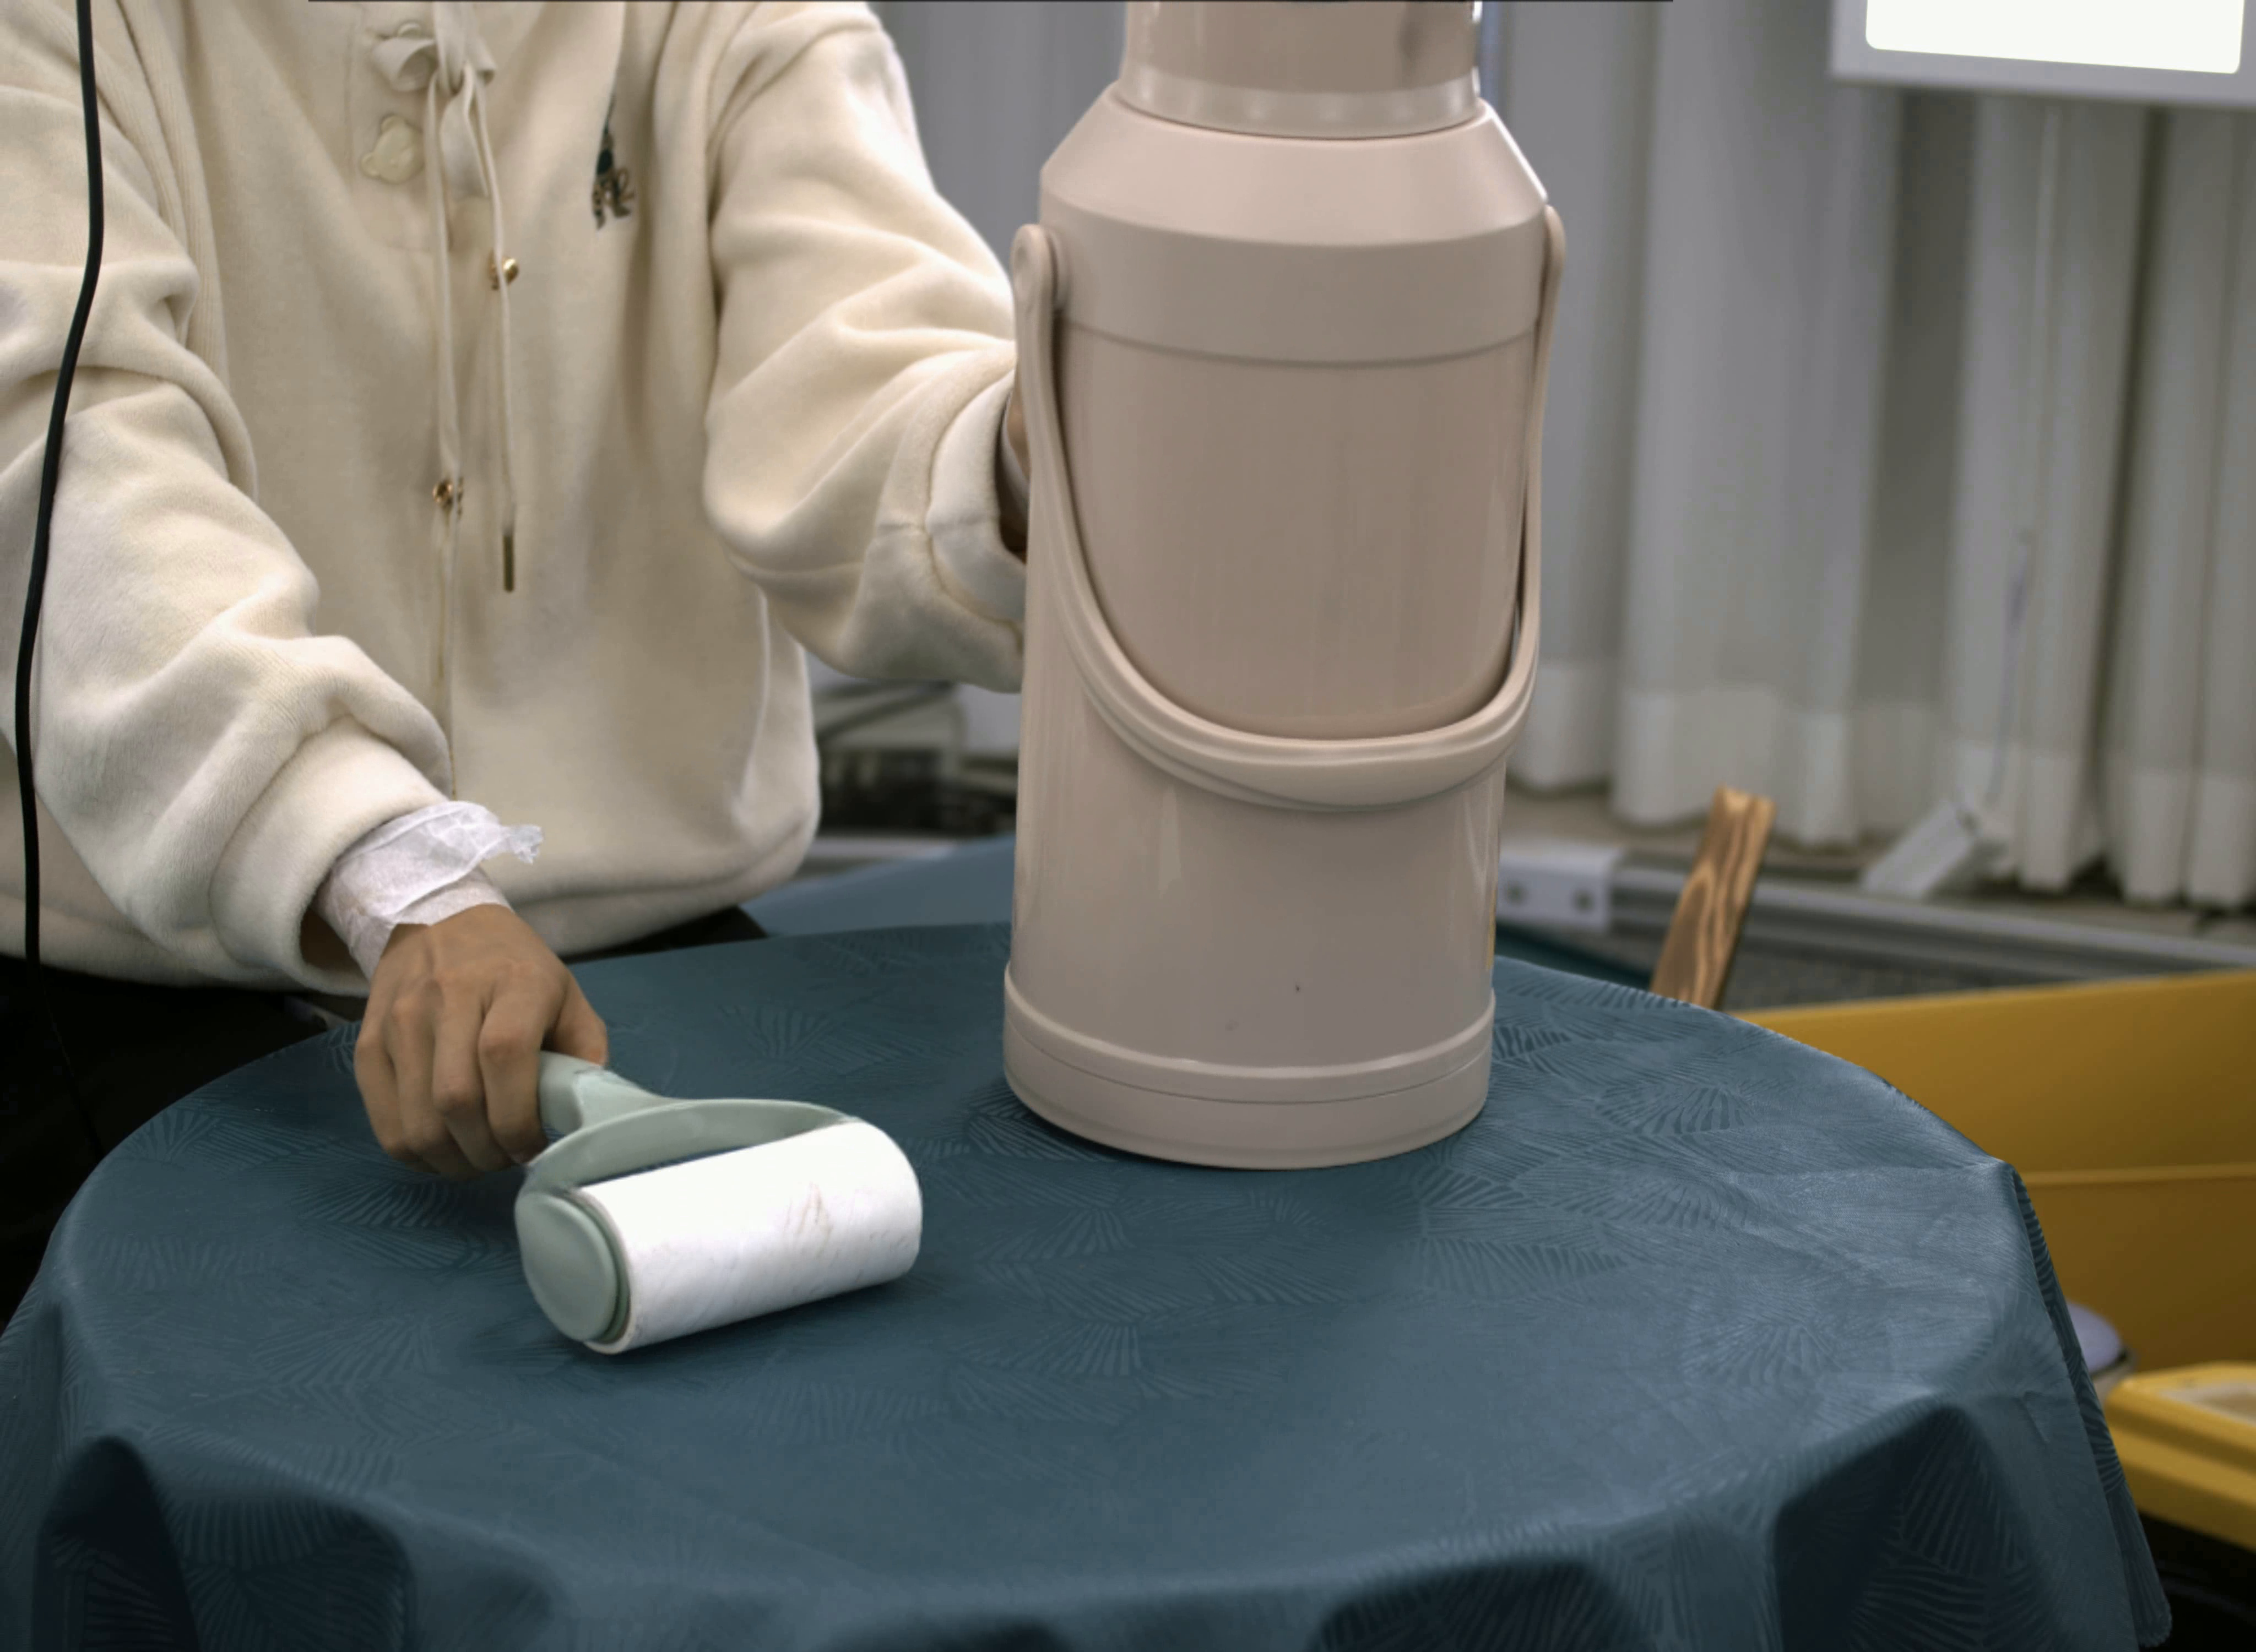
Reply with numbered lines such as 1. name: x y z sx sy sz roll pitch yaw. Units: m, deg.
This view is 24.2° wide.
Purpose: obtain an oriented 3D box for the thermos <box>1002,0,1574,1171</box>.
1. thermos: 0.045 -0.110 1.657 0.176 0.410 0.204 -5 21 -20

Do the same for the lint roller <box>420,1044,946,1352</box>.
1. lint roller: -0.151 0.094 1.568 0.117 0.049 0.195 -14 27 -35
